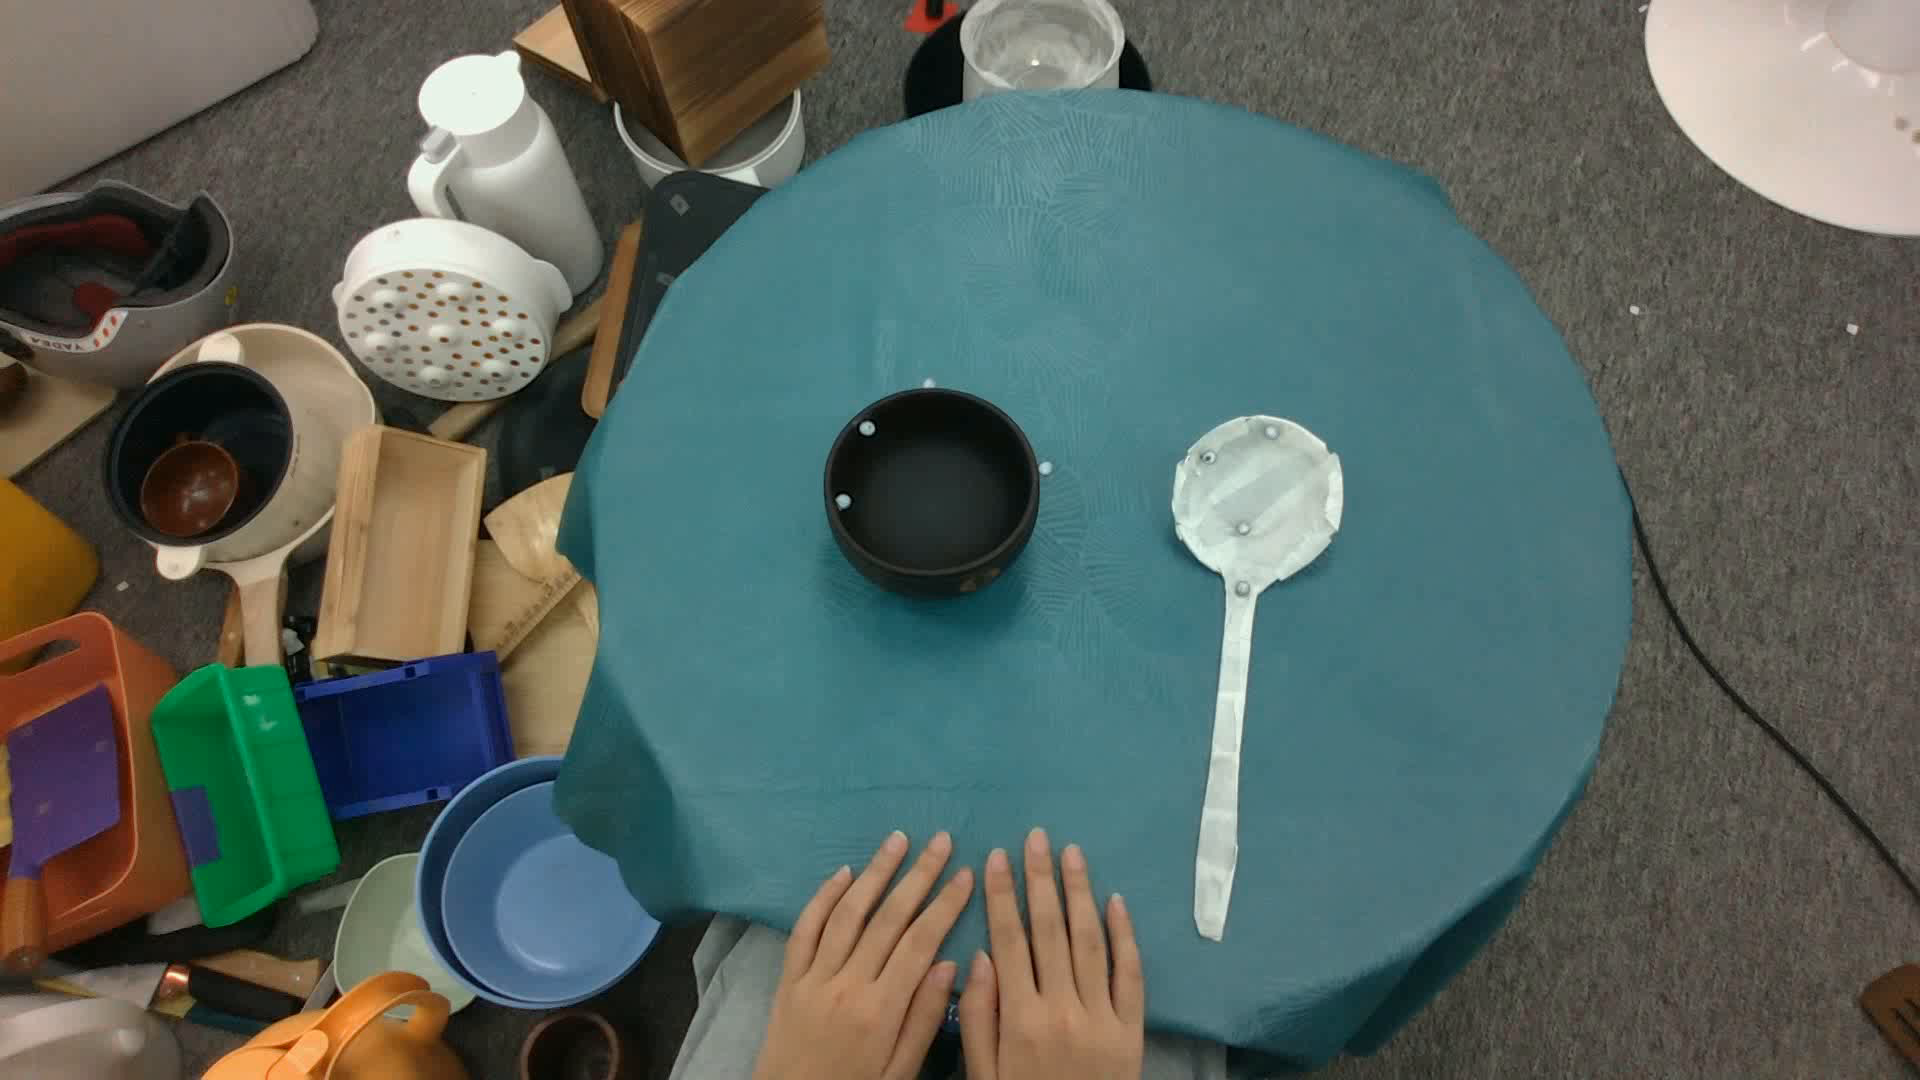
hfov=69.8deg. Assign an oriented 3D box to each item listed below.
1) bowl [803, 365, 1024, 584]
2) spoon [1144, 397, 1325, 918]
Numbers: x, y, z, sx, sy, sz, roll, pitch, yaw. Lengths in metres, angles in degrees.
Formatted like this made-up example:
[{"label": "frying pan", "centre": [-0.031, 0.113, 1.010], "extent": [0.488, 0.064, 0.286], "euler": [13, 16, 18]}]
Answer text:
[{"label": "bowl", "centre": [-0.025, -0.030, 0.756], "extent": [0.118, 0.069, 0.118], "euler": [0, 66, -1]}, {"label": "spoon", "centre": [0.132, 0.056, 0.729], "extent": [0.100, 0.059, 0.278], "euler": [10, 66, 6]}]
